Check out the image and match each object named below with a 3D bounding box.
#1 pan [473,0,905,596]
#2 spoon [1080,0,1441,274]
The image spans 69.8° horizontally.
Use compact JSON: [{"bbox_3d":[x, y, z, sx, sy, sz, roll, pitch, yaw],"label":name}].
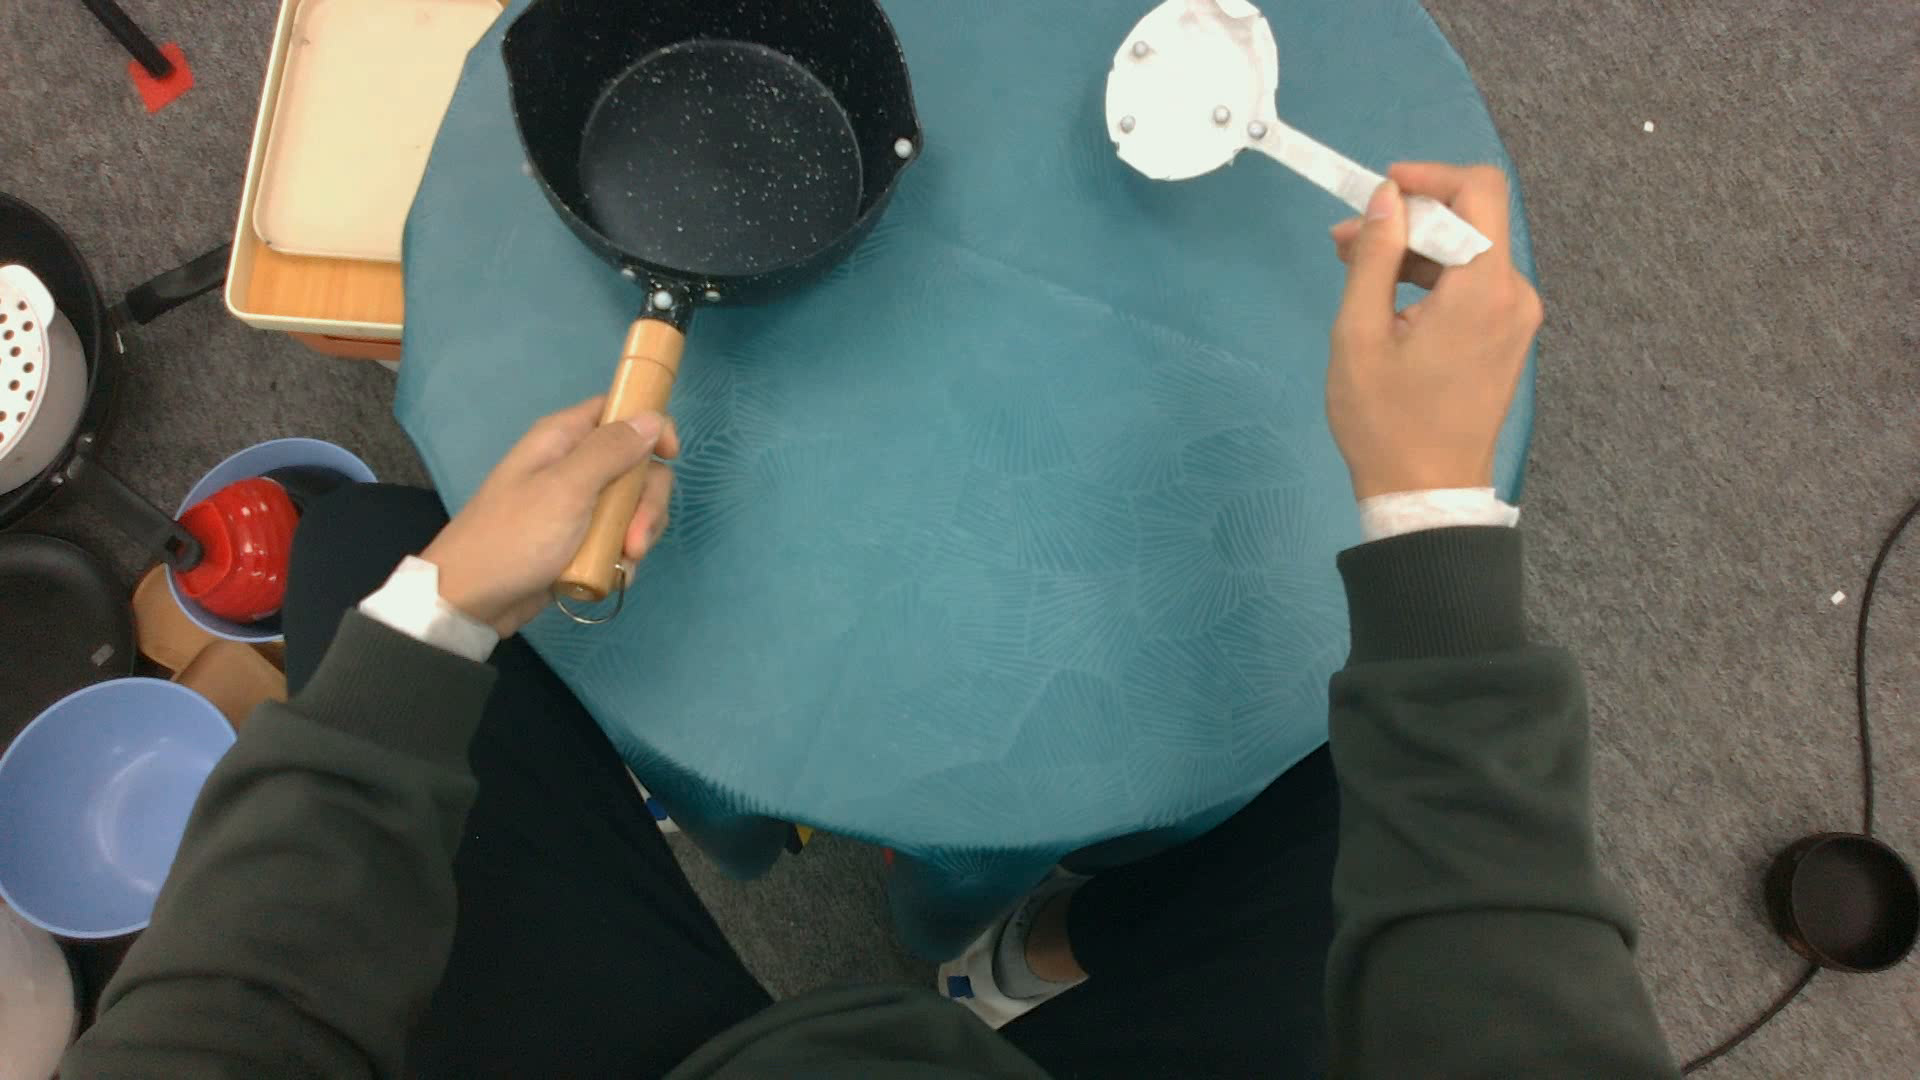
[{"bbox_3d":[-0.142,-0.130,0.660,0.207,0.108,0.343,11,75,-6],"label":"pan"},{"bbox_3d":[0.121,-0.179,0.614,0.059,0.278,0.100,22,114,-25],"label":"spoon"}]
